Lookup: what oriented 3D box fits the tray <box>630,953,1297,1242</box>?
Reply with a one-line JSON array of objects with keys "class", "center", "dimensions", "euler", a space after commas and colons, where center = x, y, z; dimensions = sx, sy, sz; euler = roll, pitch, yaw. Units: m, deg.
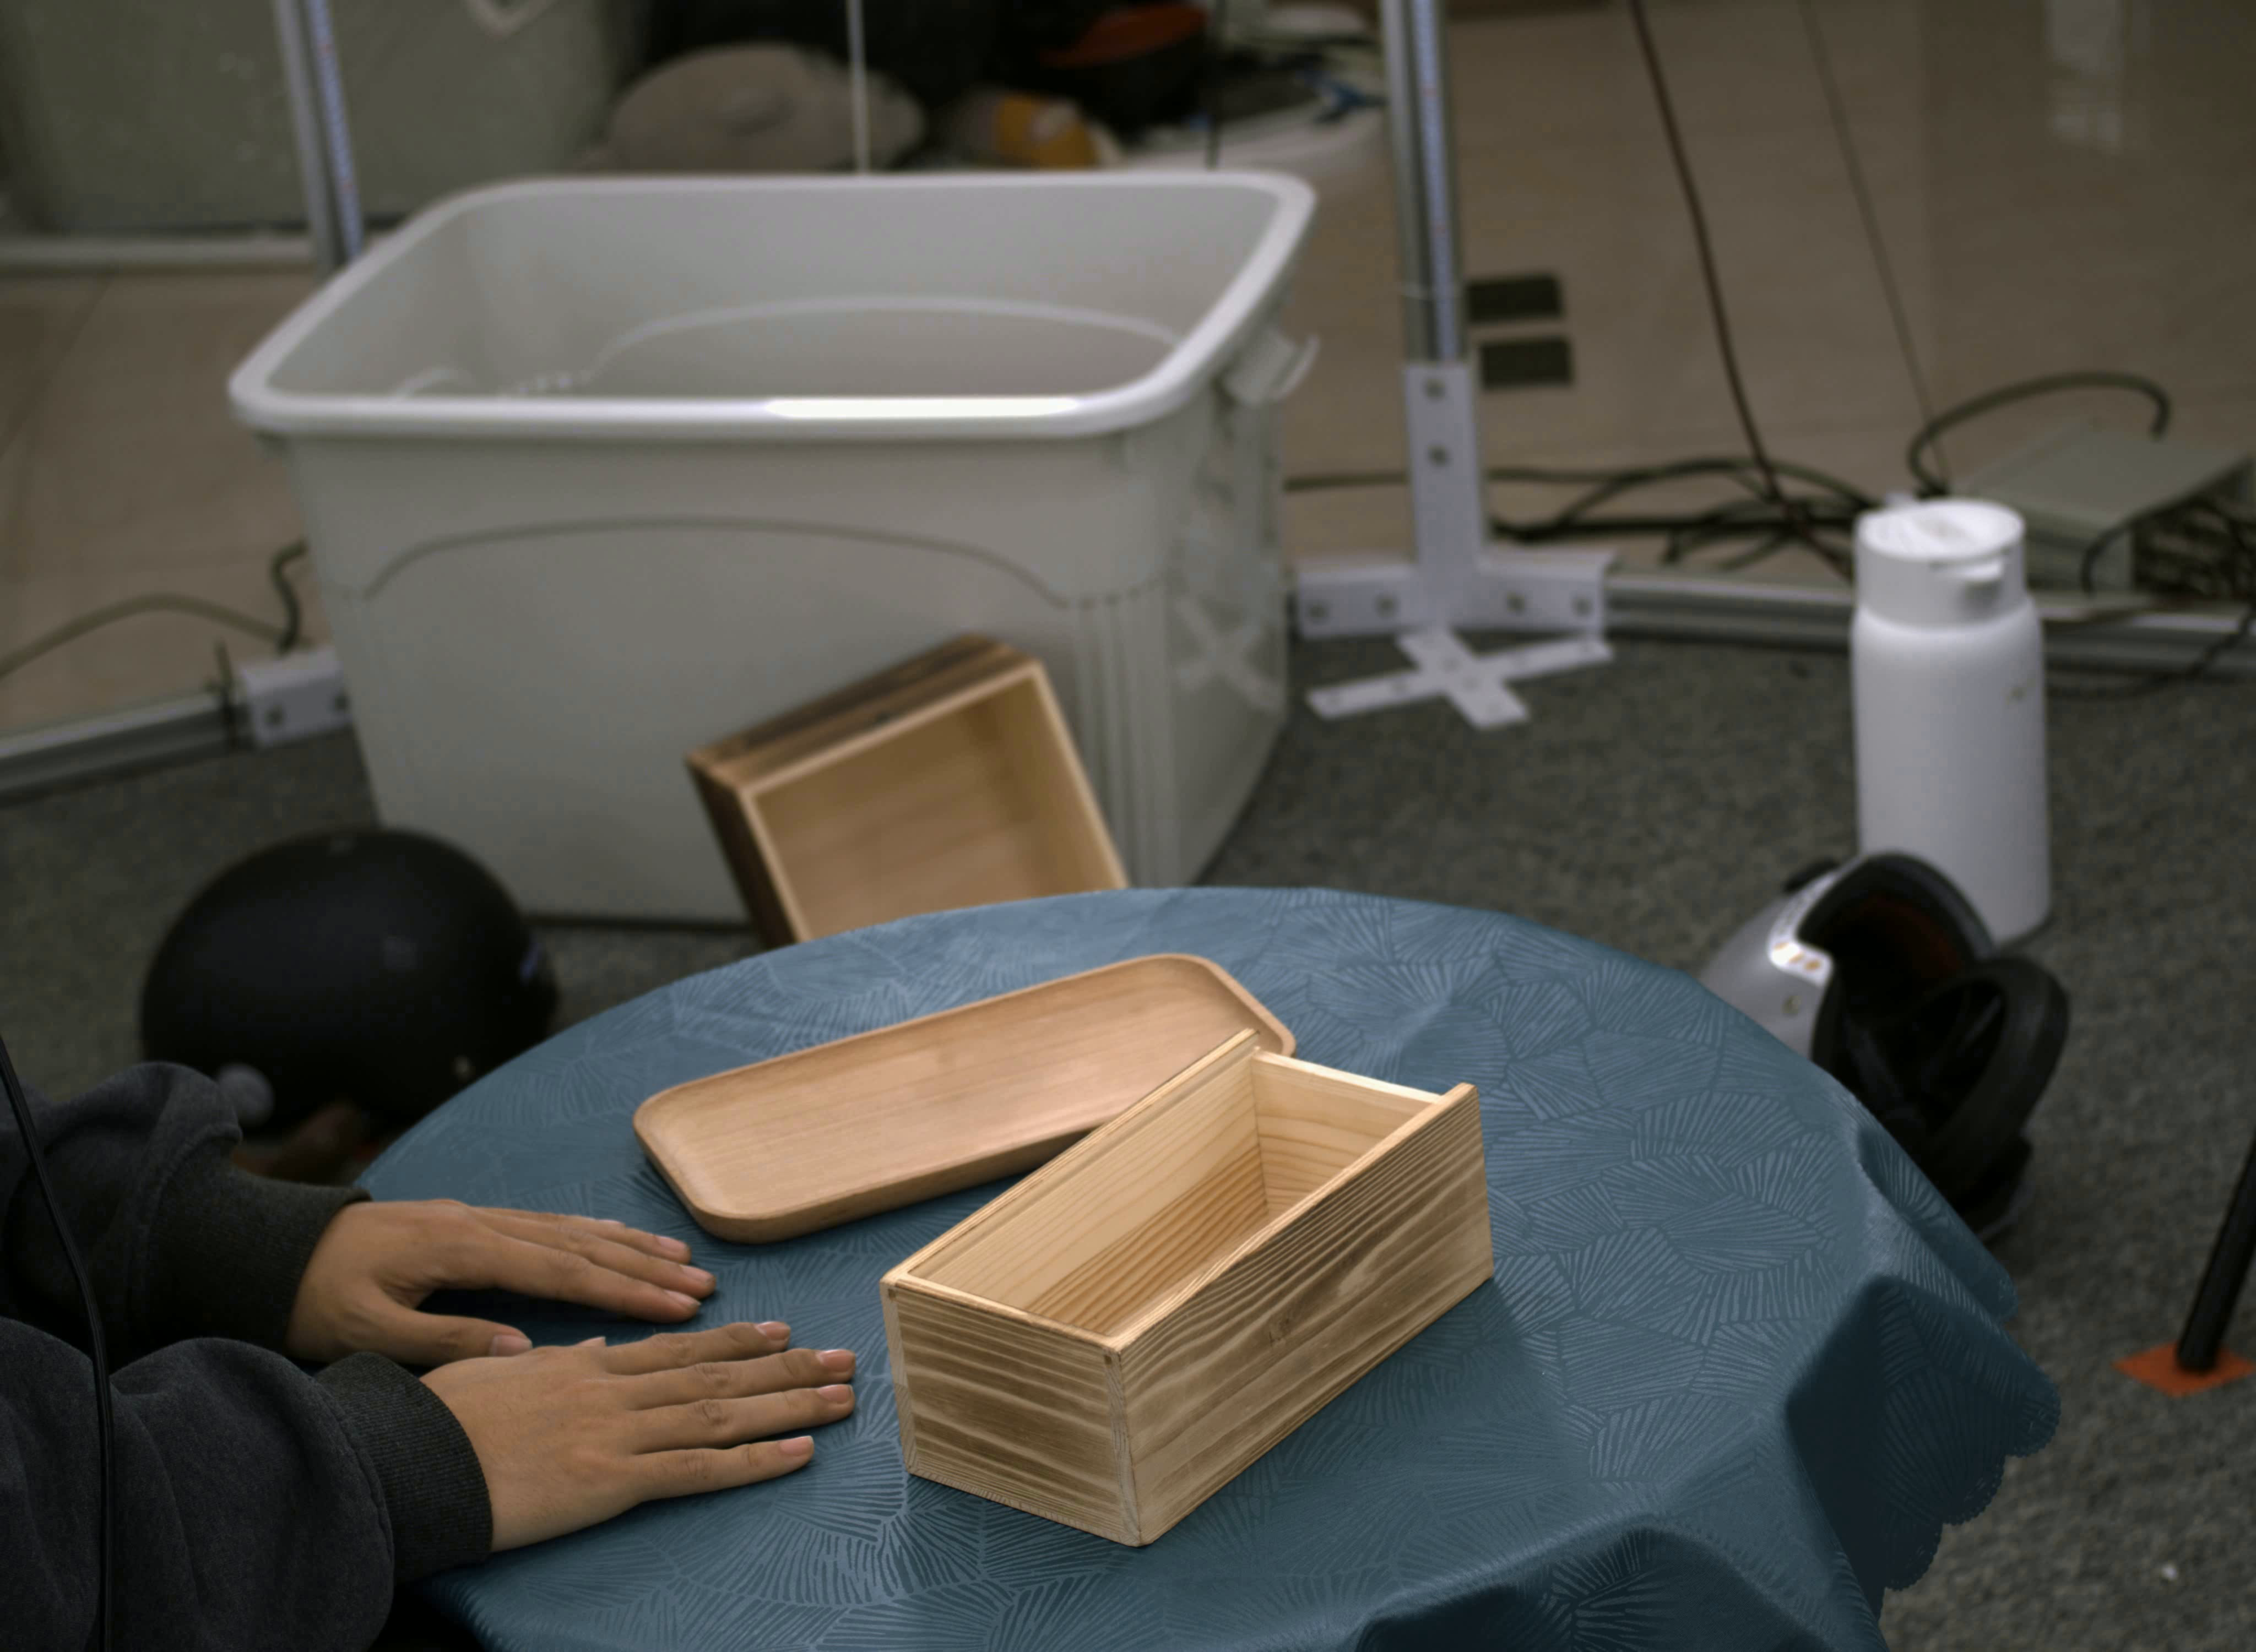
[{"class": "tray", "center": [-0.064, 0.105, 2.214], "dimensions": [0.250, 0.023, 0.129], "euler": [-15, 24, -17]}]

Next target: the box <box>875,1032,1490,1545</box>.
[{"class": "box", "center": [0.022, 0.159, 2.002], "dimensions": [0.107, 0.081, 0.209], "euler": [14, 32, 36]}]
